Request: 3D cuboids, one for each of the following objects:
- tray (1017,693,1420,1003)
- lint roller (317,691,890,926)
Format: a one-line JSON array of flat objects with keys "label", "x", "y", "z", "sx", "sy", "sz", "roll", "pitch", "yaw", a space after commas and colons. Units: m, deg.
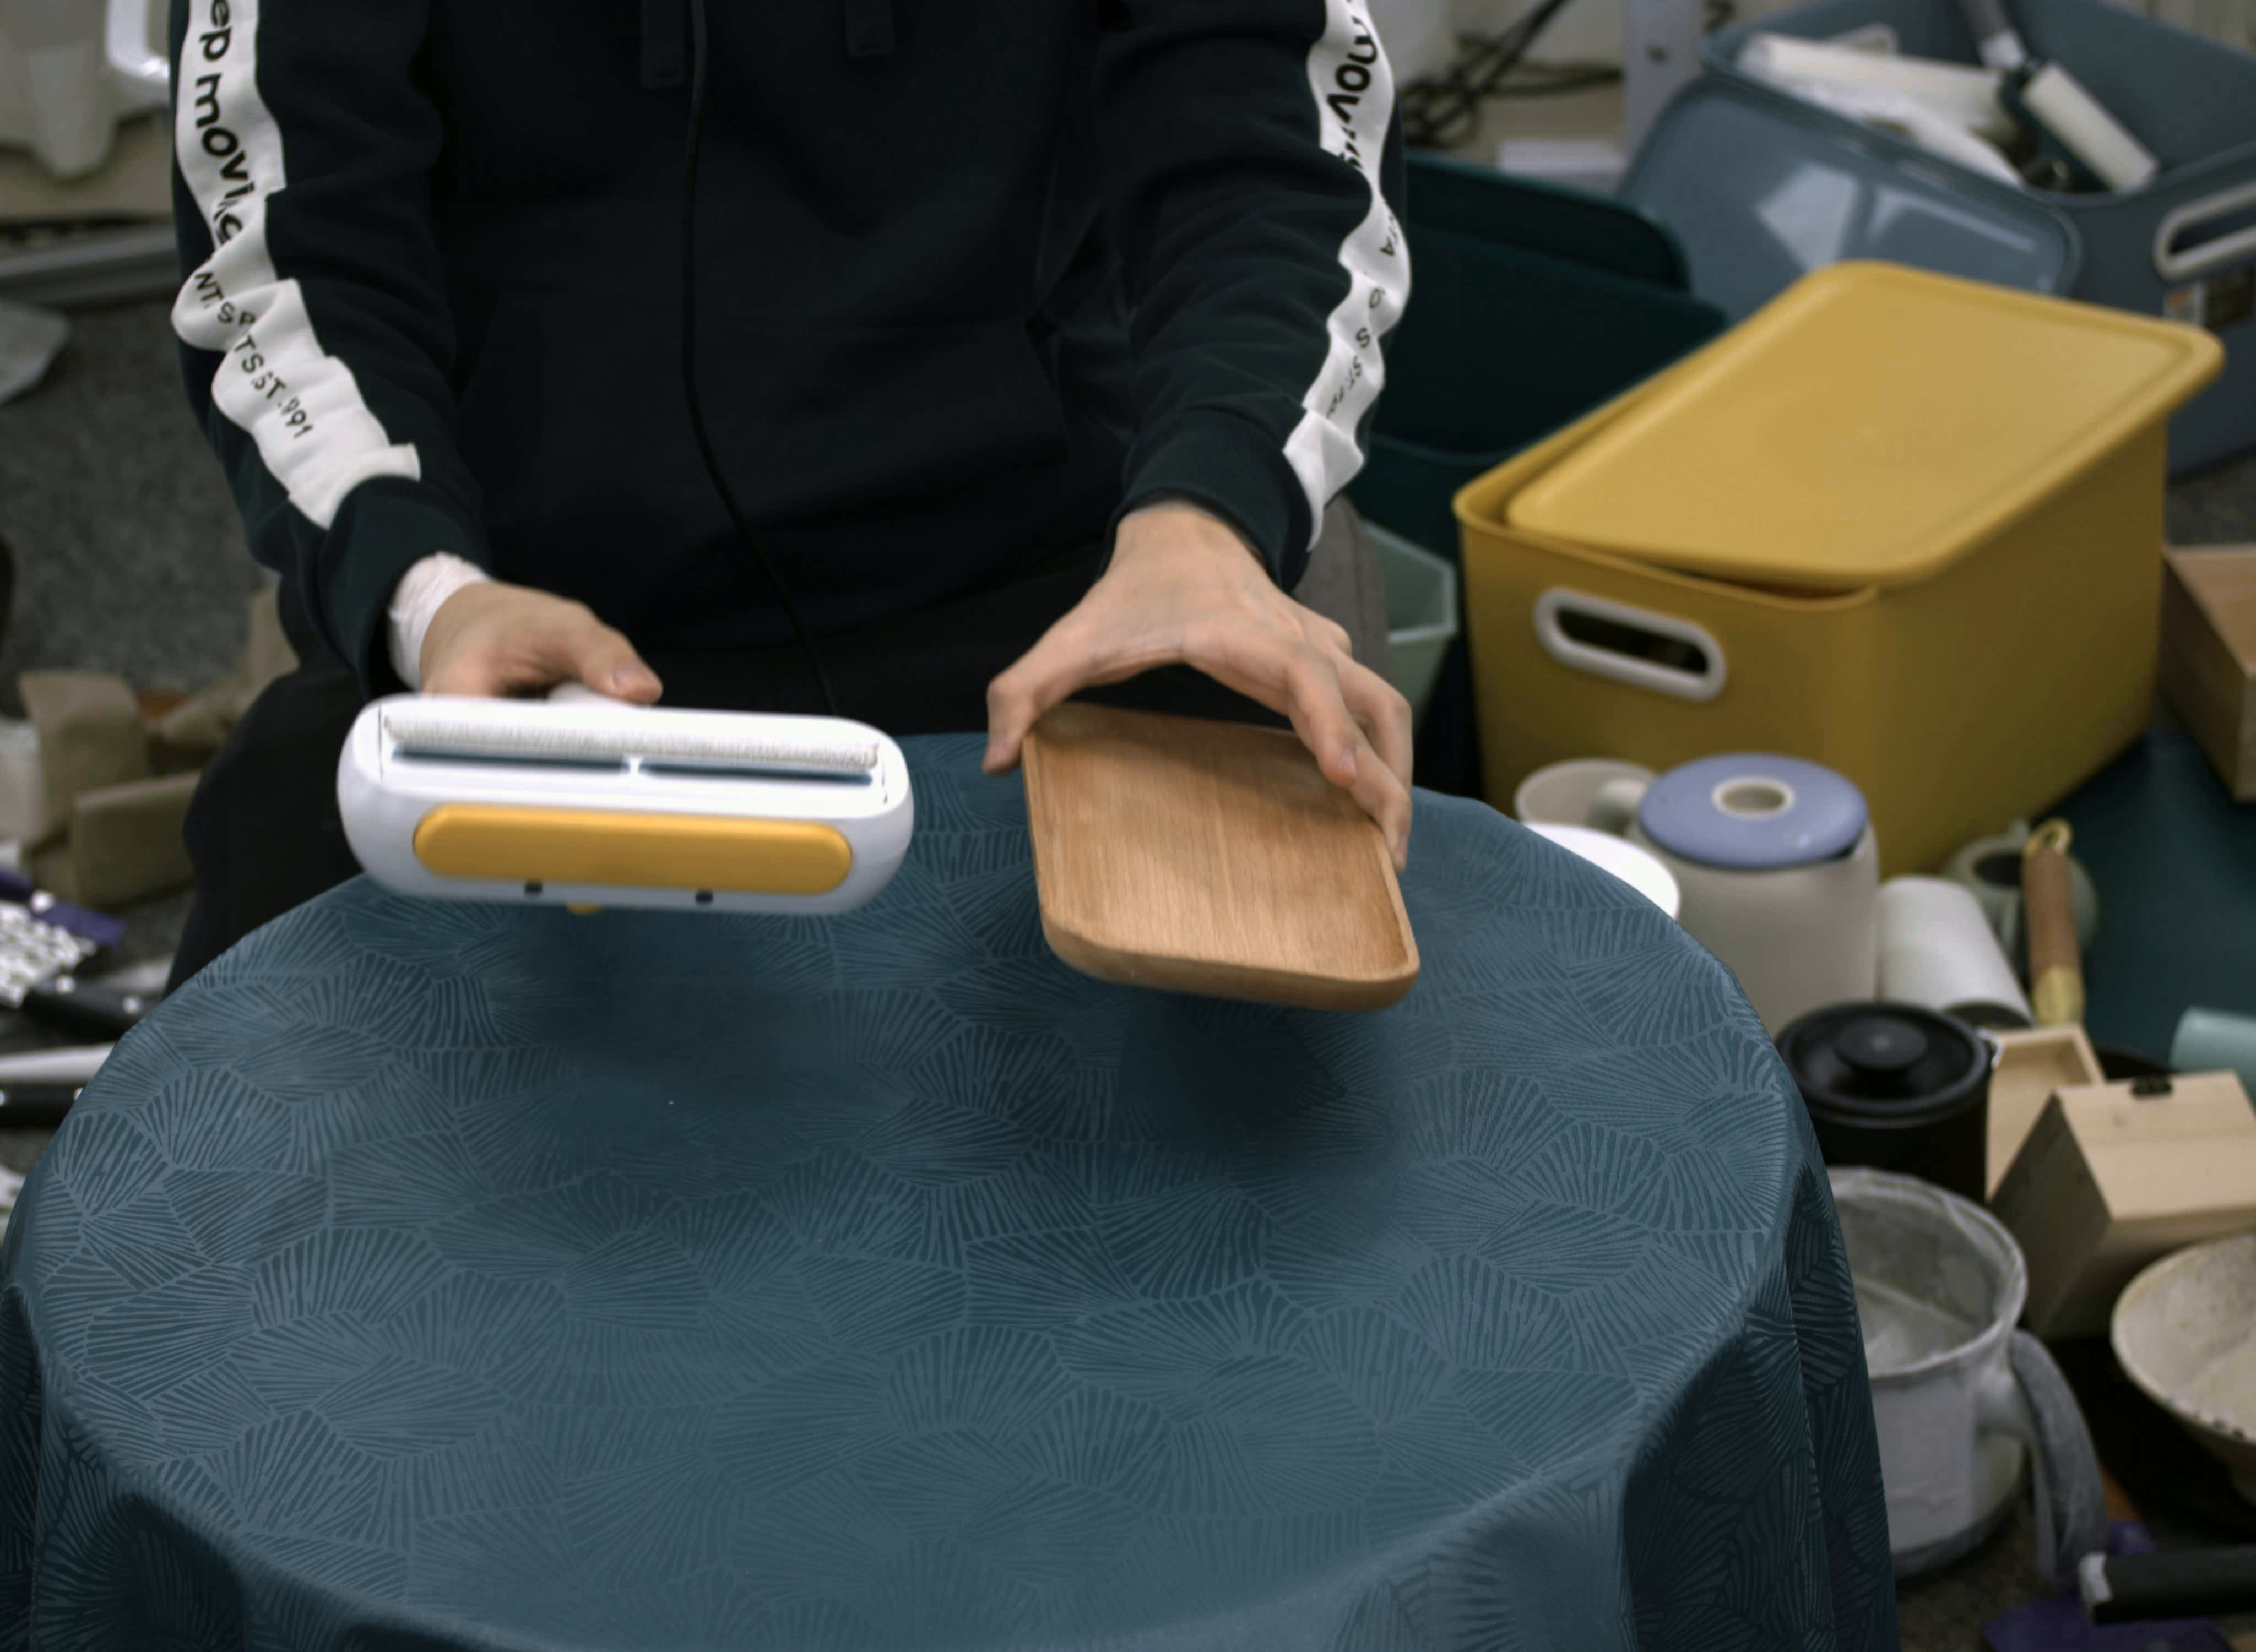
[{"label": "tray", "x": 0.027, "y": 0.006, "z": 1.938, "sx": 0.130, "sy": 0.023, "sz": 0.253, "roll": 11, "pitch": 18, "yaw": -6}, {"label": "lint roller", "x": -0.180, "y": -0.012, "z": 1.946, "sx": 0.192, "sy": 0.074, "sz": 0.193, "roll": 4, "pitch": 12, "yaw": -5}]
